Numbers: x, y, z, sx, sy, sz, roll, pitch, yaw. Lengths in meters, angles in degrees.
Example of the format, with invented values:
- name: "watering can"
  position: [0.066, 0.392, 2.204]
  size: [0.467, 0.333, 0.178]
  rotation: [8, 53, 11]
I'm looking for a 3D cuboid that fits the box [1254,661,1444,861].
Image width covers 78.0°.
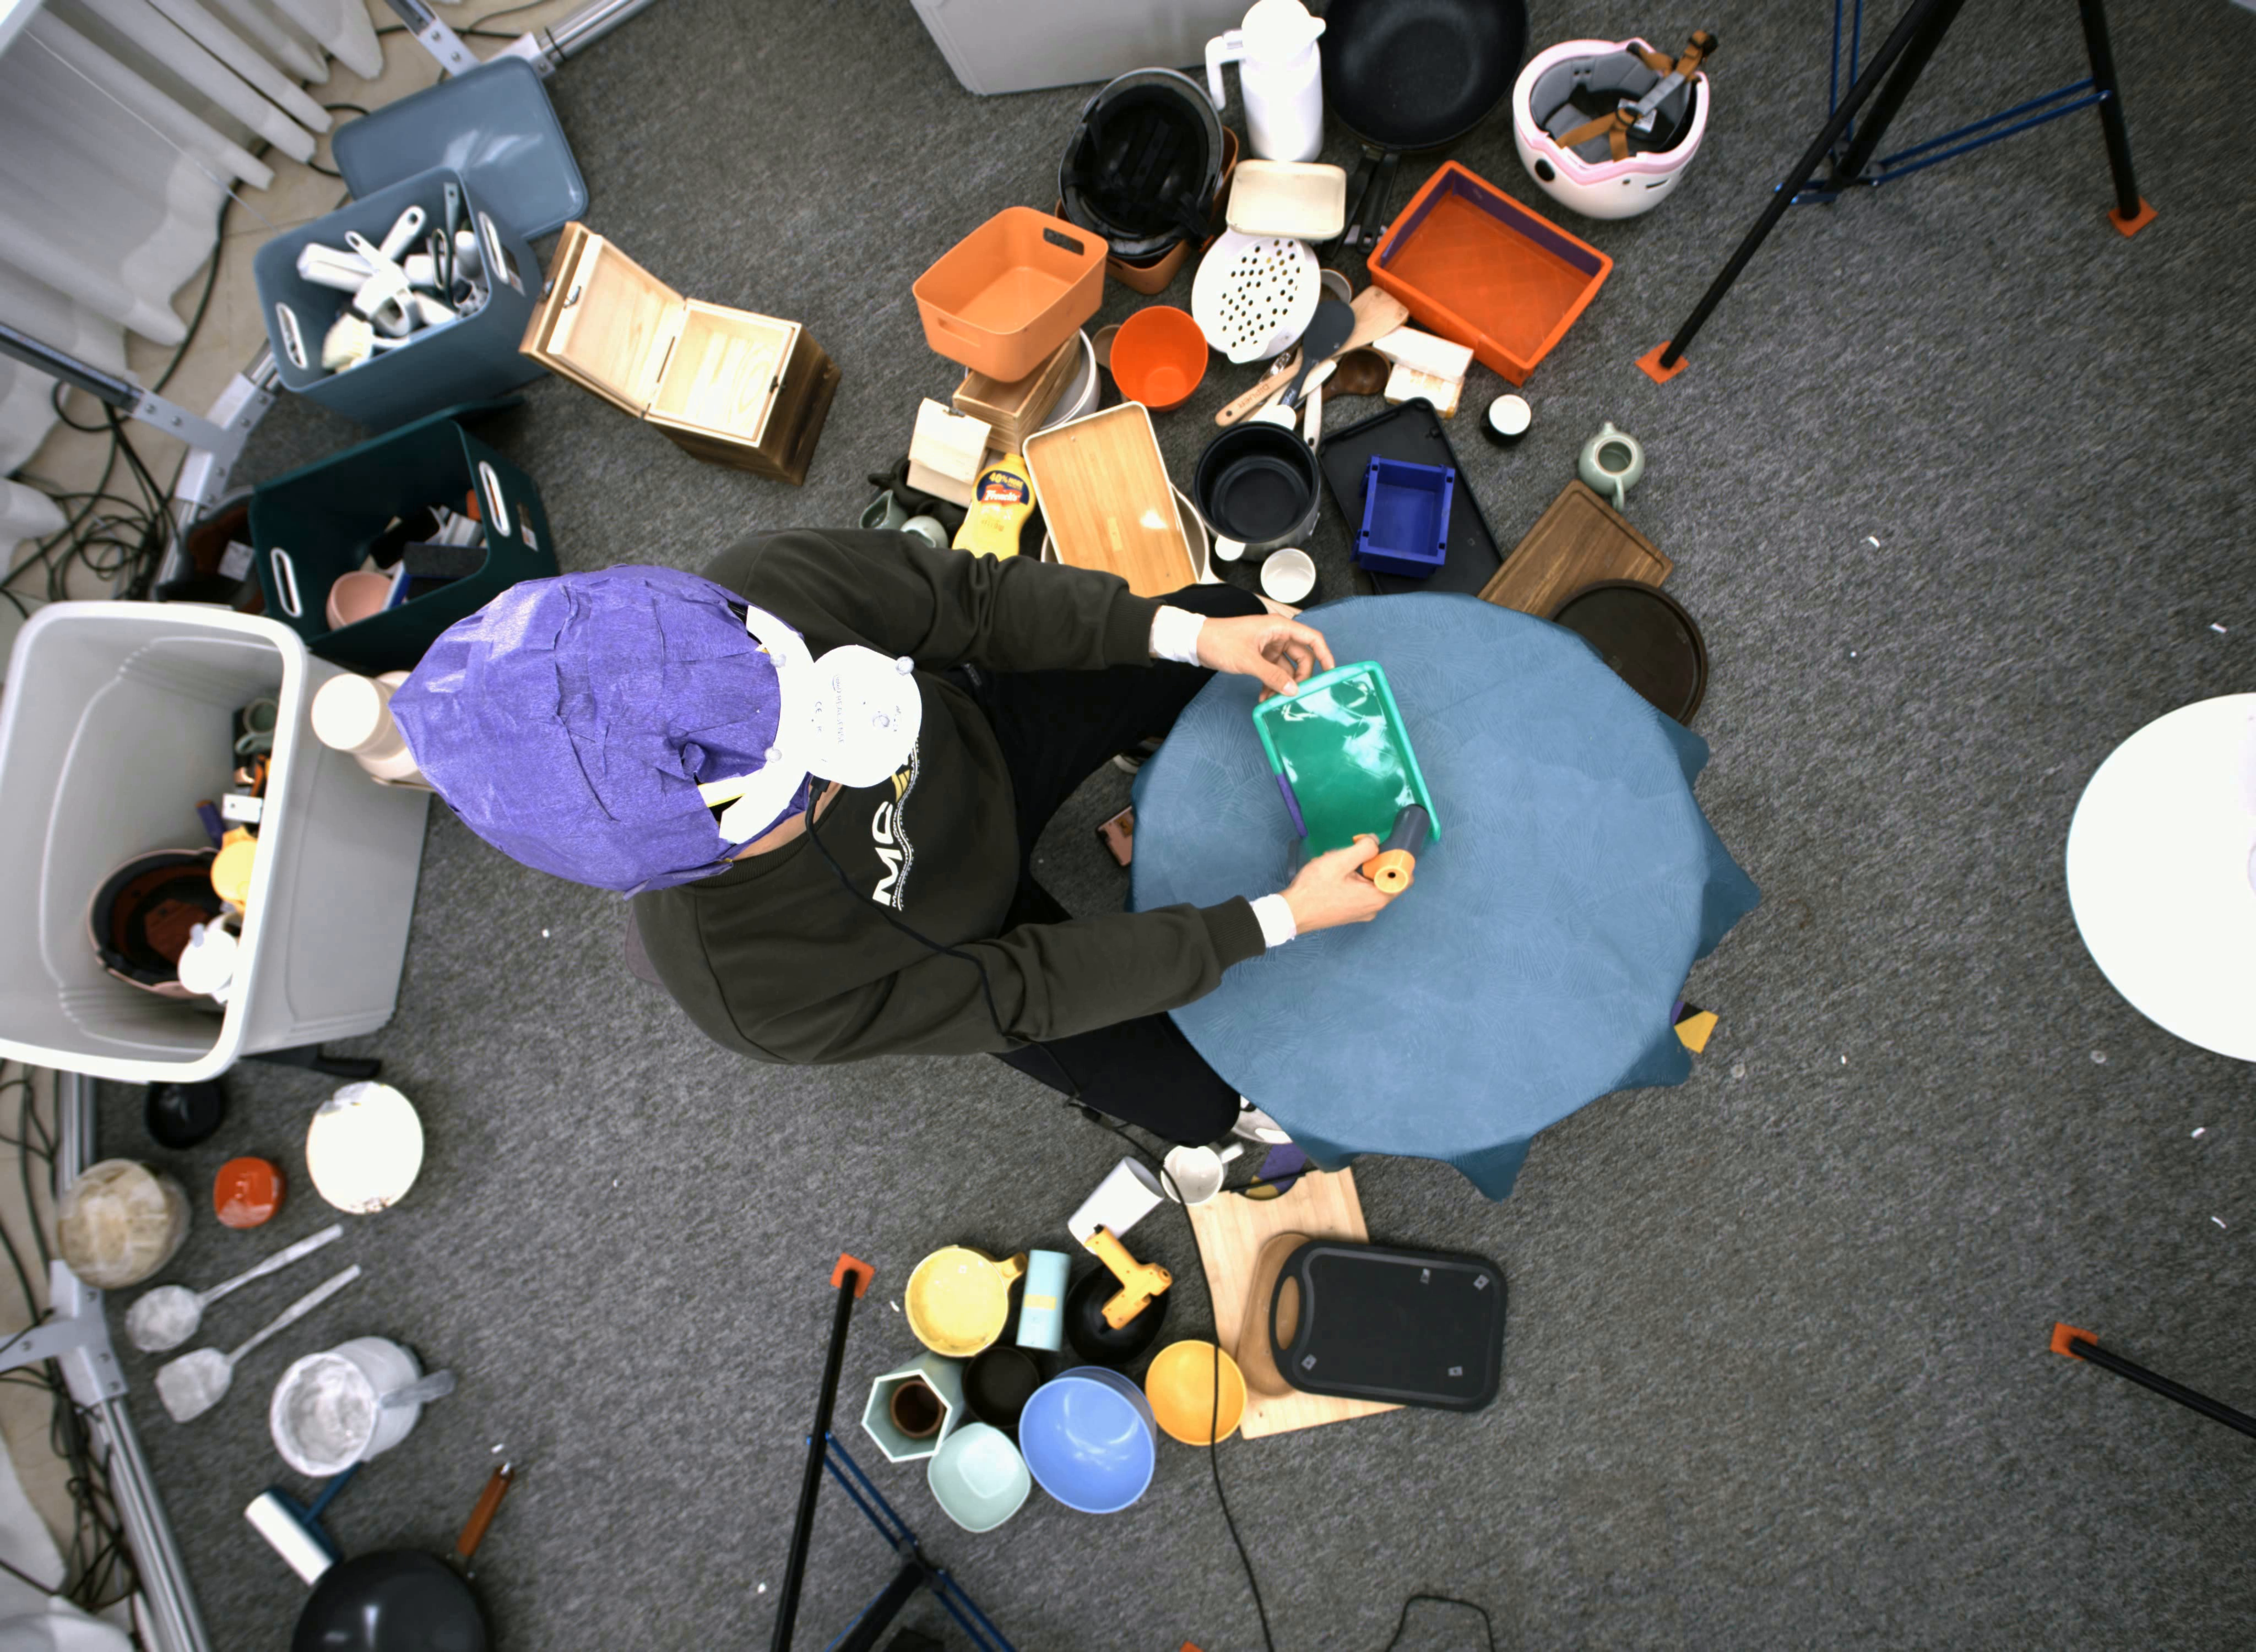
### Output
- name: "box"
  position: [0.224, -0.061, 1.412]
  size: [0.139, 0.064, 0.213]
  rotation: [-22, 107, 10]

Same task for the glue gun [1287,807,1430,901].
- name: "glue gun"
  position: [0.231, 0.025, 1.367]
  size: [0.141, 0.115, 0.041]
  rotation: [-15, 114, 17]
